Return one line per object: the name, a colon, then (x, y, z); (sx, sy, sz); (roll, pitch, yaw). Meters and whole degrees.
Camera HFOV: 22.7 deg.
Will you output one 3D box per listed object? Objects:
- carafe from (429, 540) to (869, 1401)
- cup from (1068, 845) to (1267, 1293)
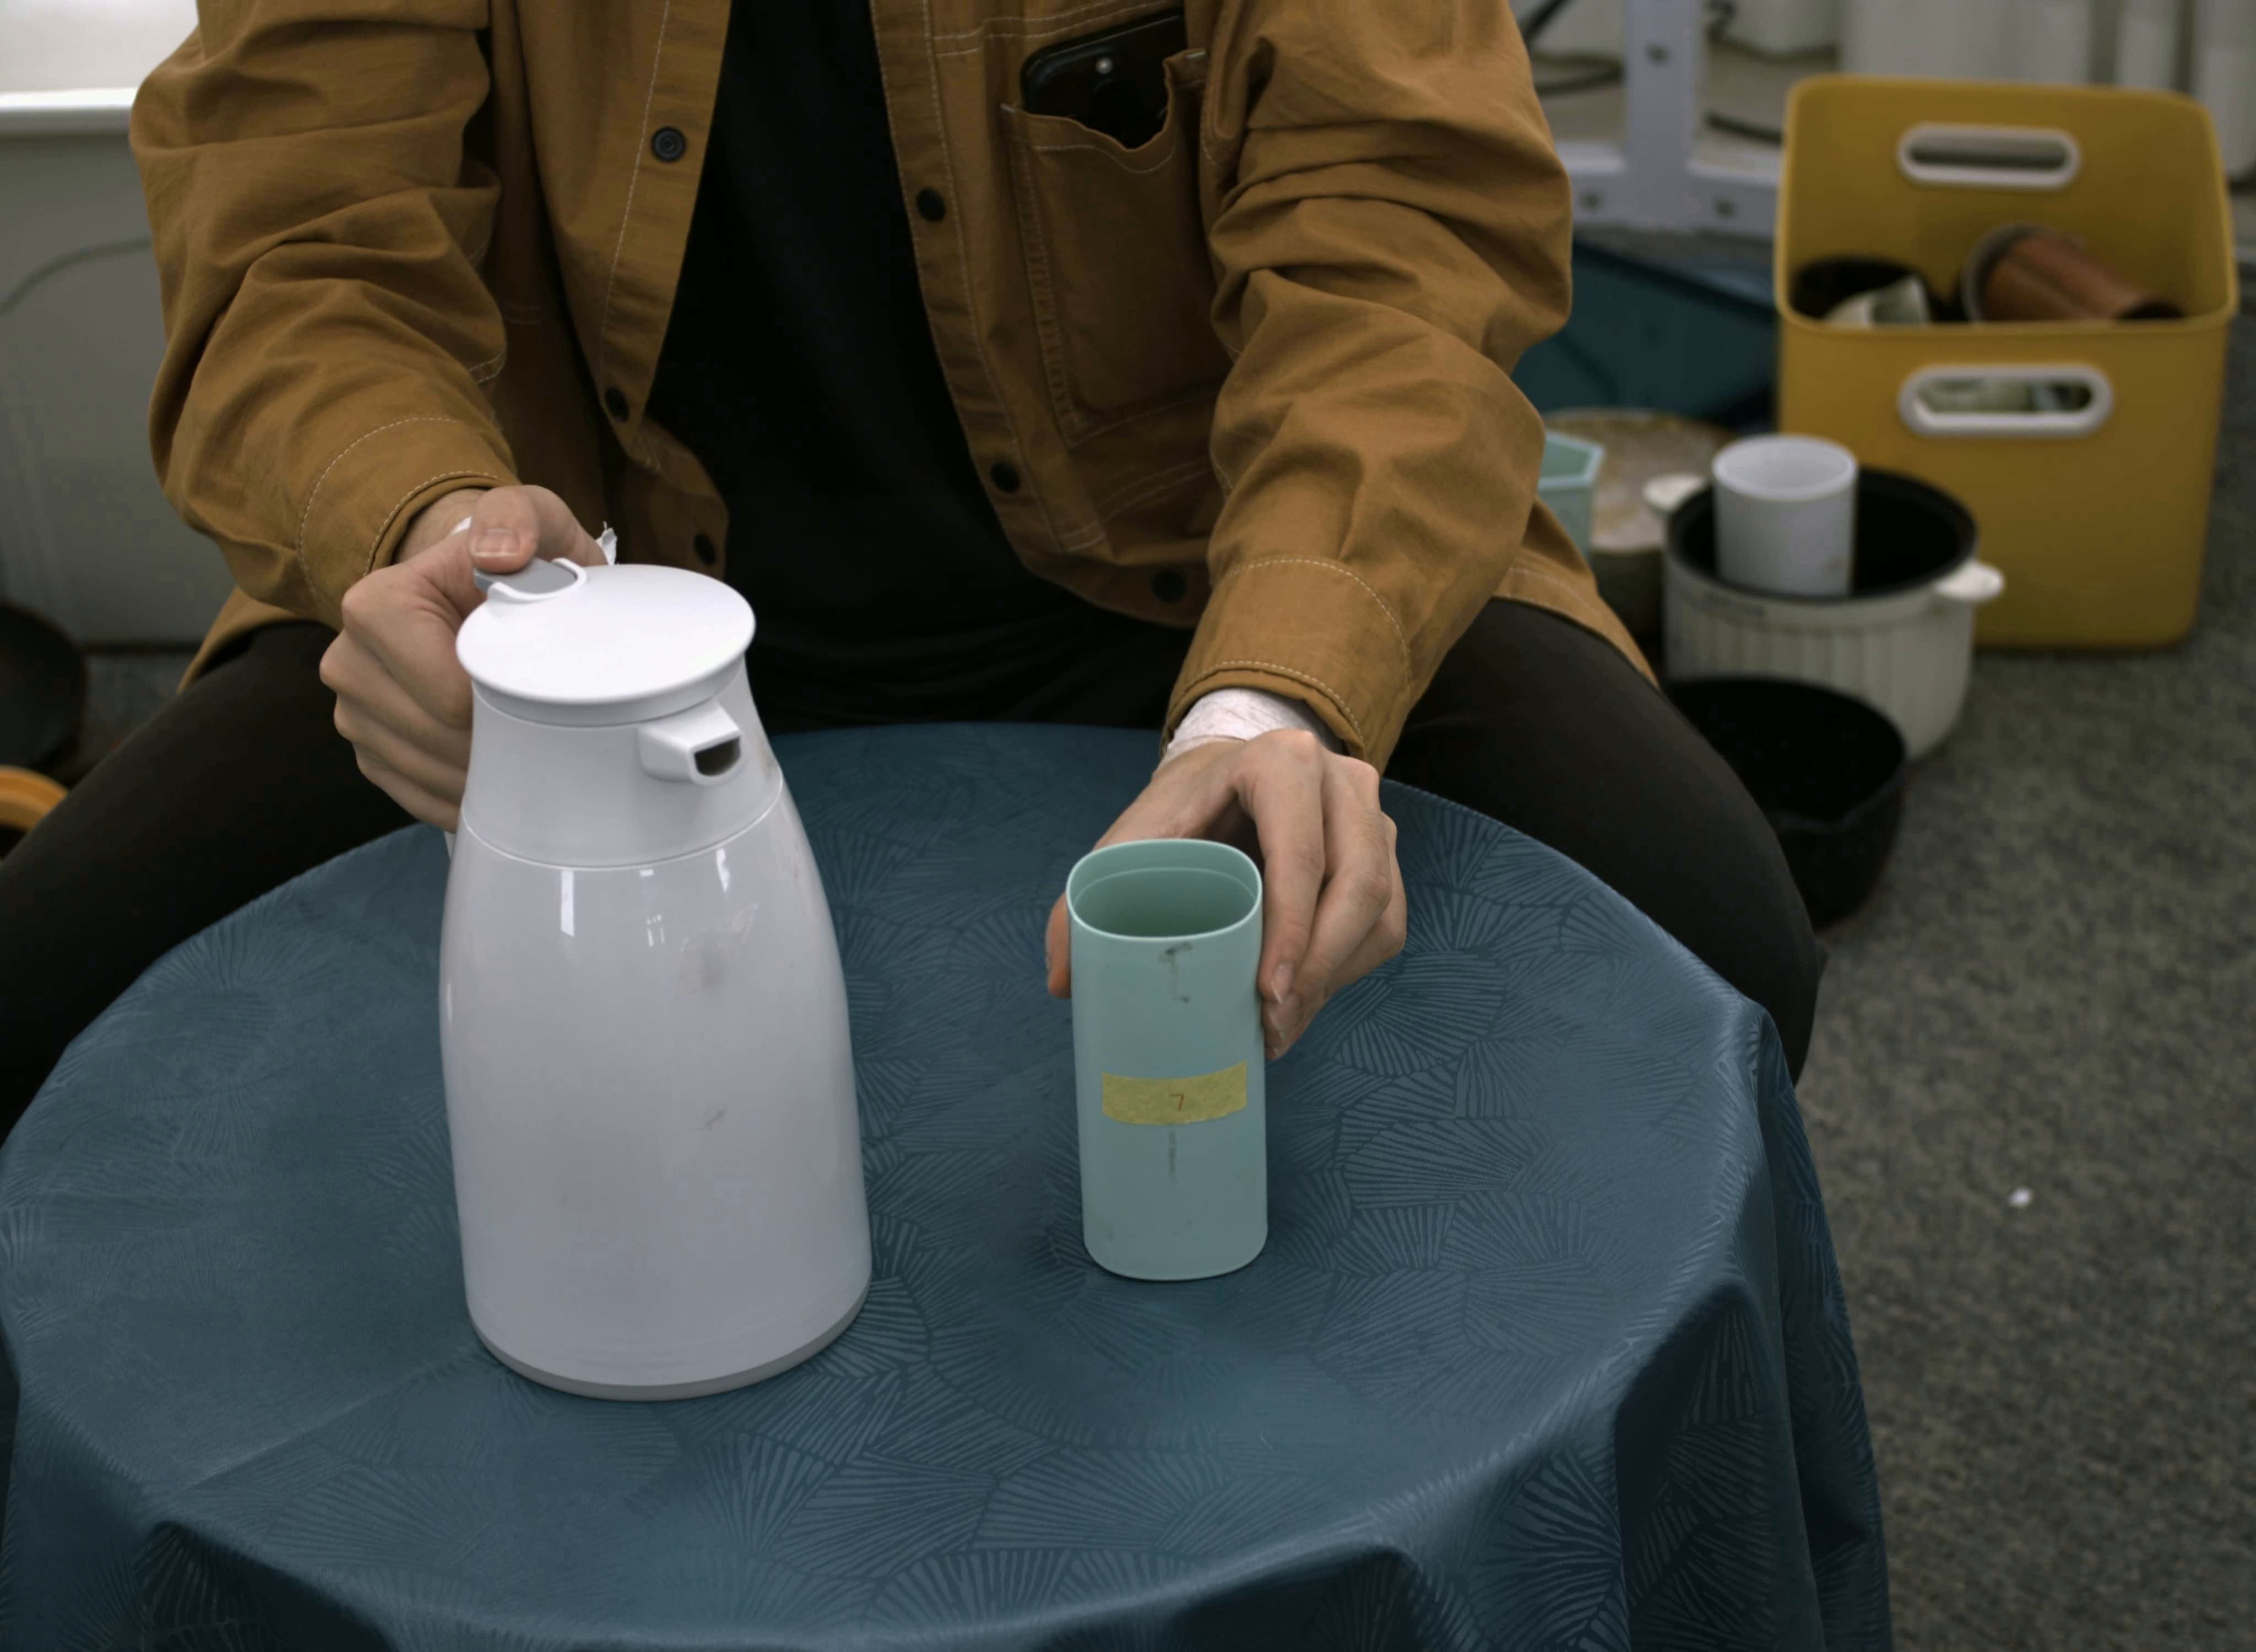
carafe: (-0.167, 0.035, 1.774); (0.134, 0.246, 0.168); (-22, 32, -32)
cup: (0.014, 0.077, 1.803); (0.066, 0.131, 0.068); (-1, 28, 1)
